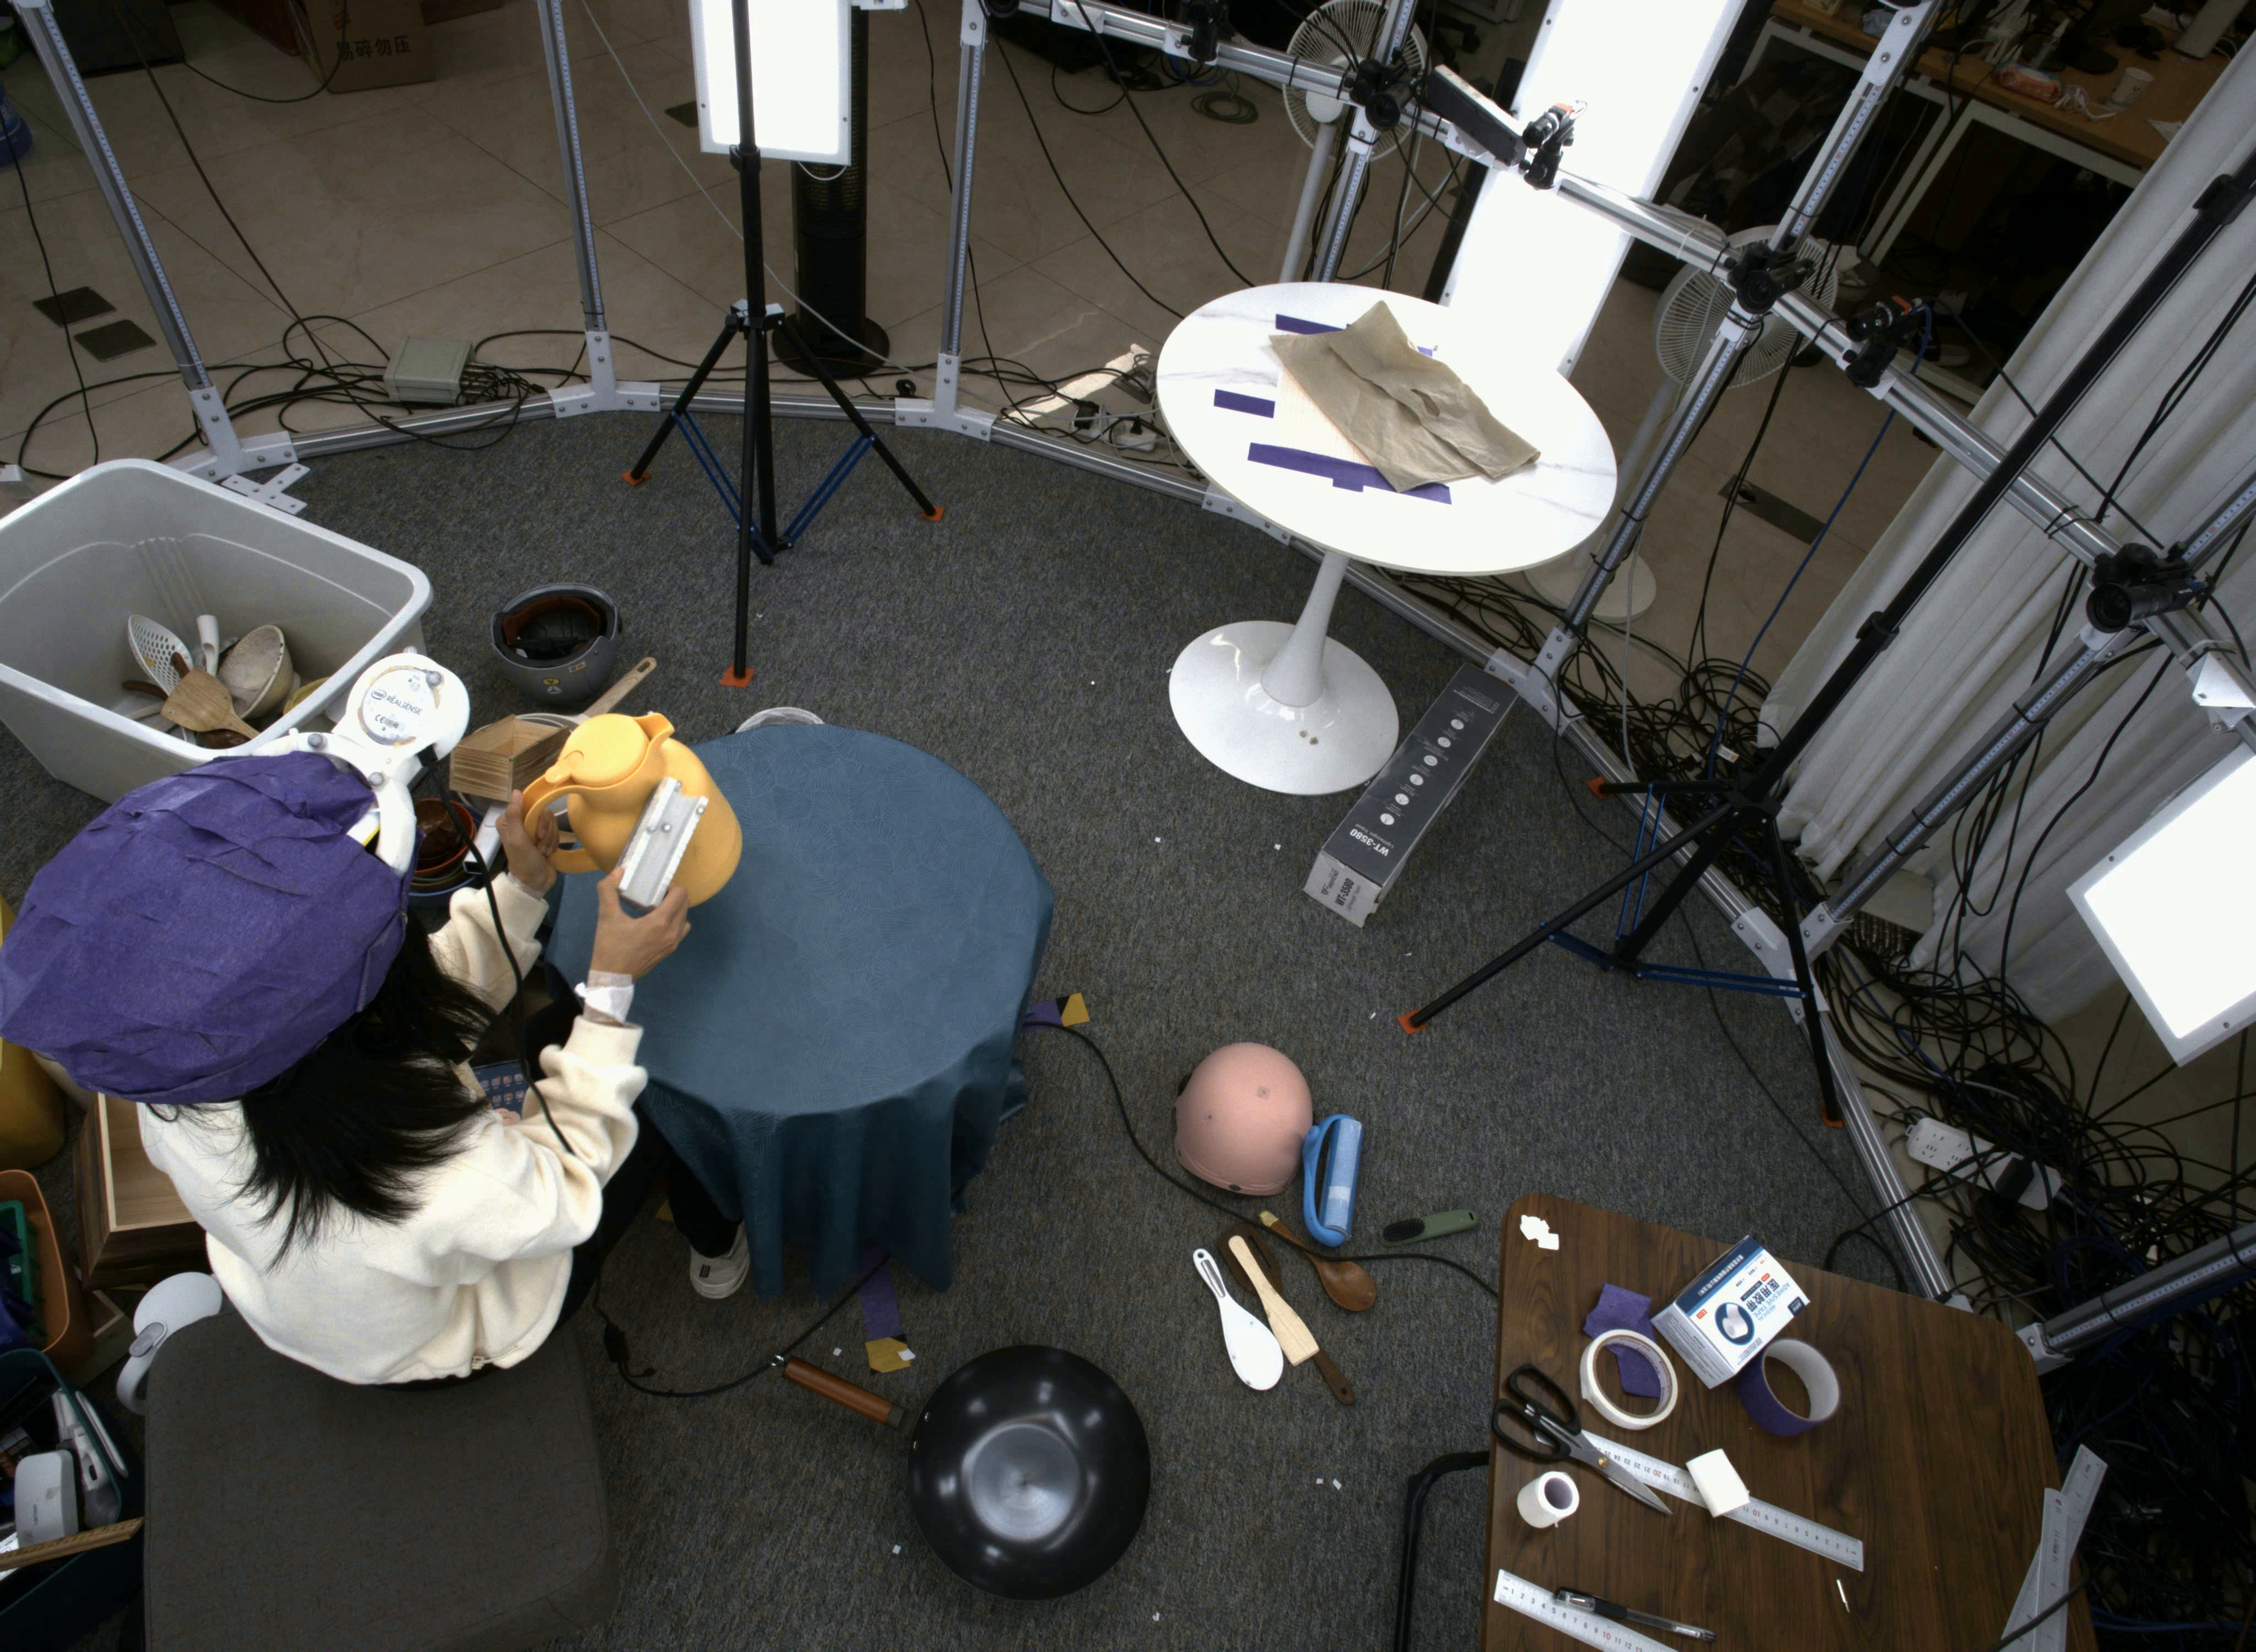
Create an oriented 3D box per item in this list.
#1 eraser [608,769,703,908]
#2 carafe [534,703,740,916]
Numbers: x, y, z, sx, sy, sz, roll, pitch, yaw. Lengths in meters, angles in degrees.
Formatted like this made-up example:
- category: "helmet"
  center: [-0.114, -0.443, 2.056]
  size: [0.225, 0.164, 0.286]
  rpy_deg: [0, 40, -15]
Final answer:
- category: "eraser"
  center: [-0.495, 0.012, 1.340]
  size: [0.051, 0.045, 0.133]
  rpy_deg: [35, 58, -39]
- category: "carafe"
  center: [-0.562, -0.017, 1.432]
  size: [0.202, 0.268, 0.159]
  rpy_deg: [-31, 59, -15]
